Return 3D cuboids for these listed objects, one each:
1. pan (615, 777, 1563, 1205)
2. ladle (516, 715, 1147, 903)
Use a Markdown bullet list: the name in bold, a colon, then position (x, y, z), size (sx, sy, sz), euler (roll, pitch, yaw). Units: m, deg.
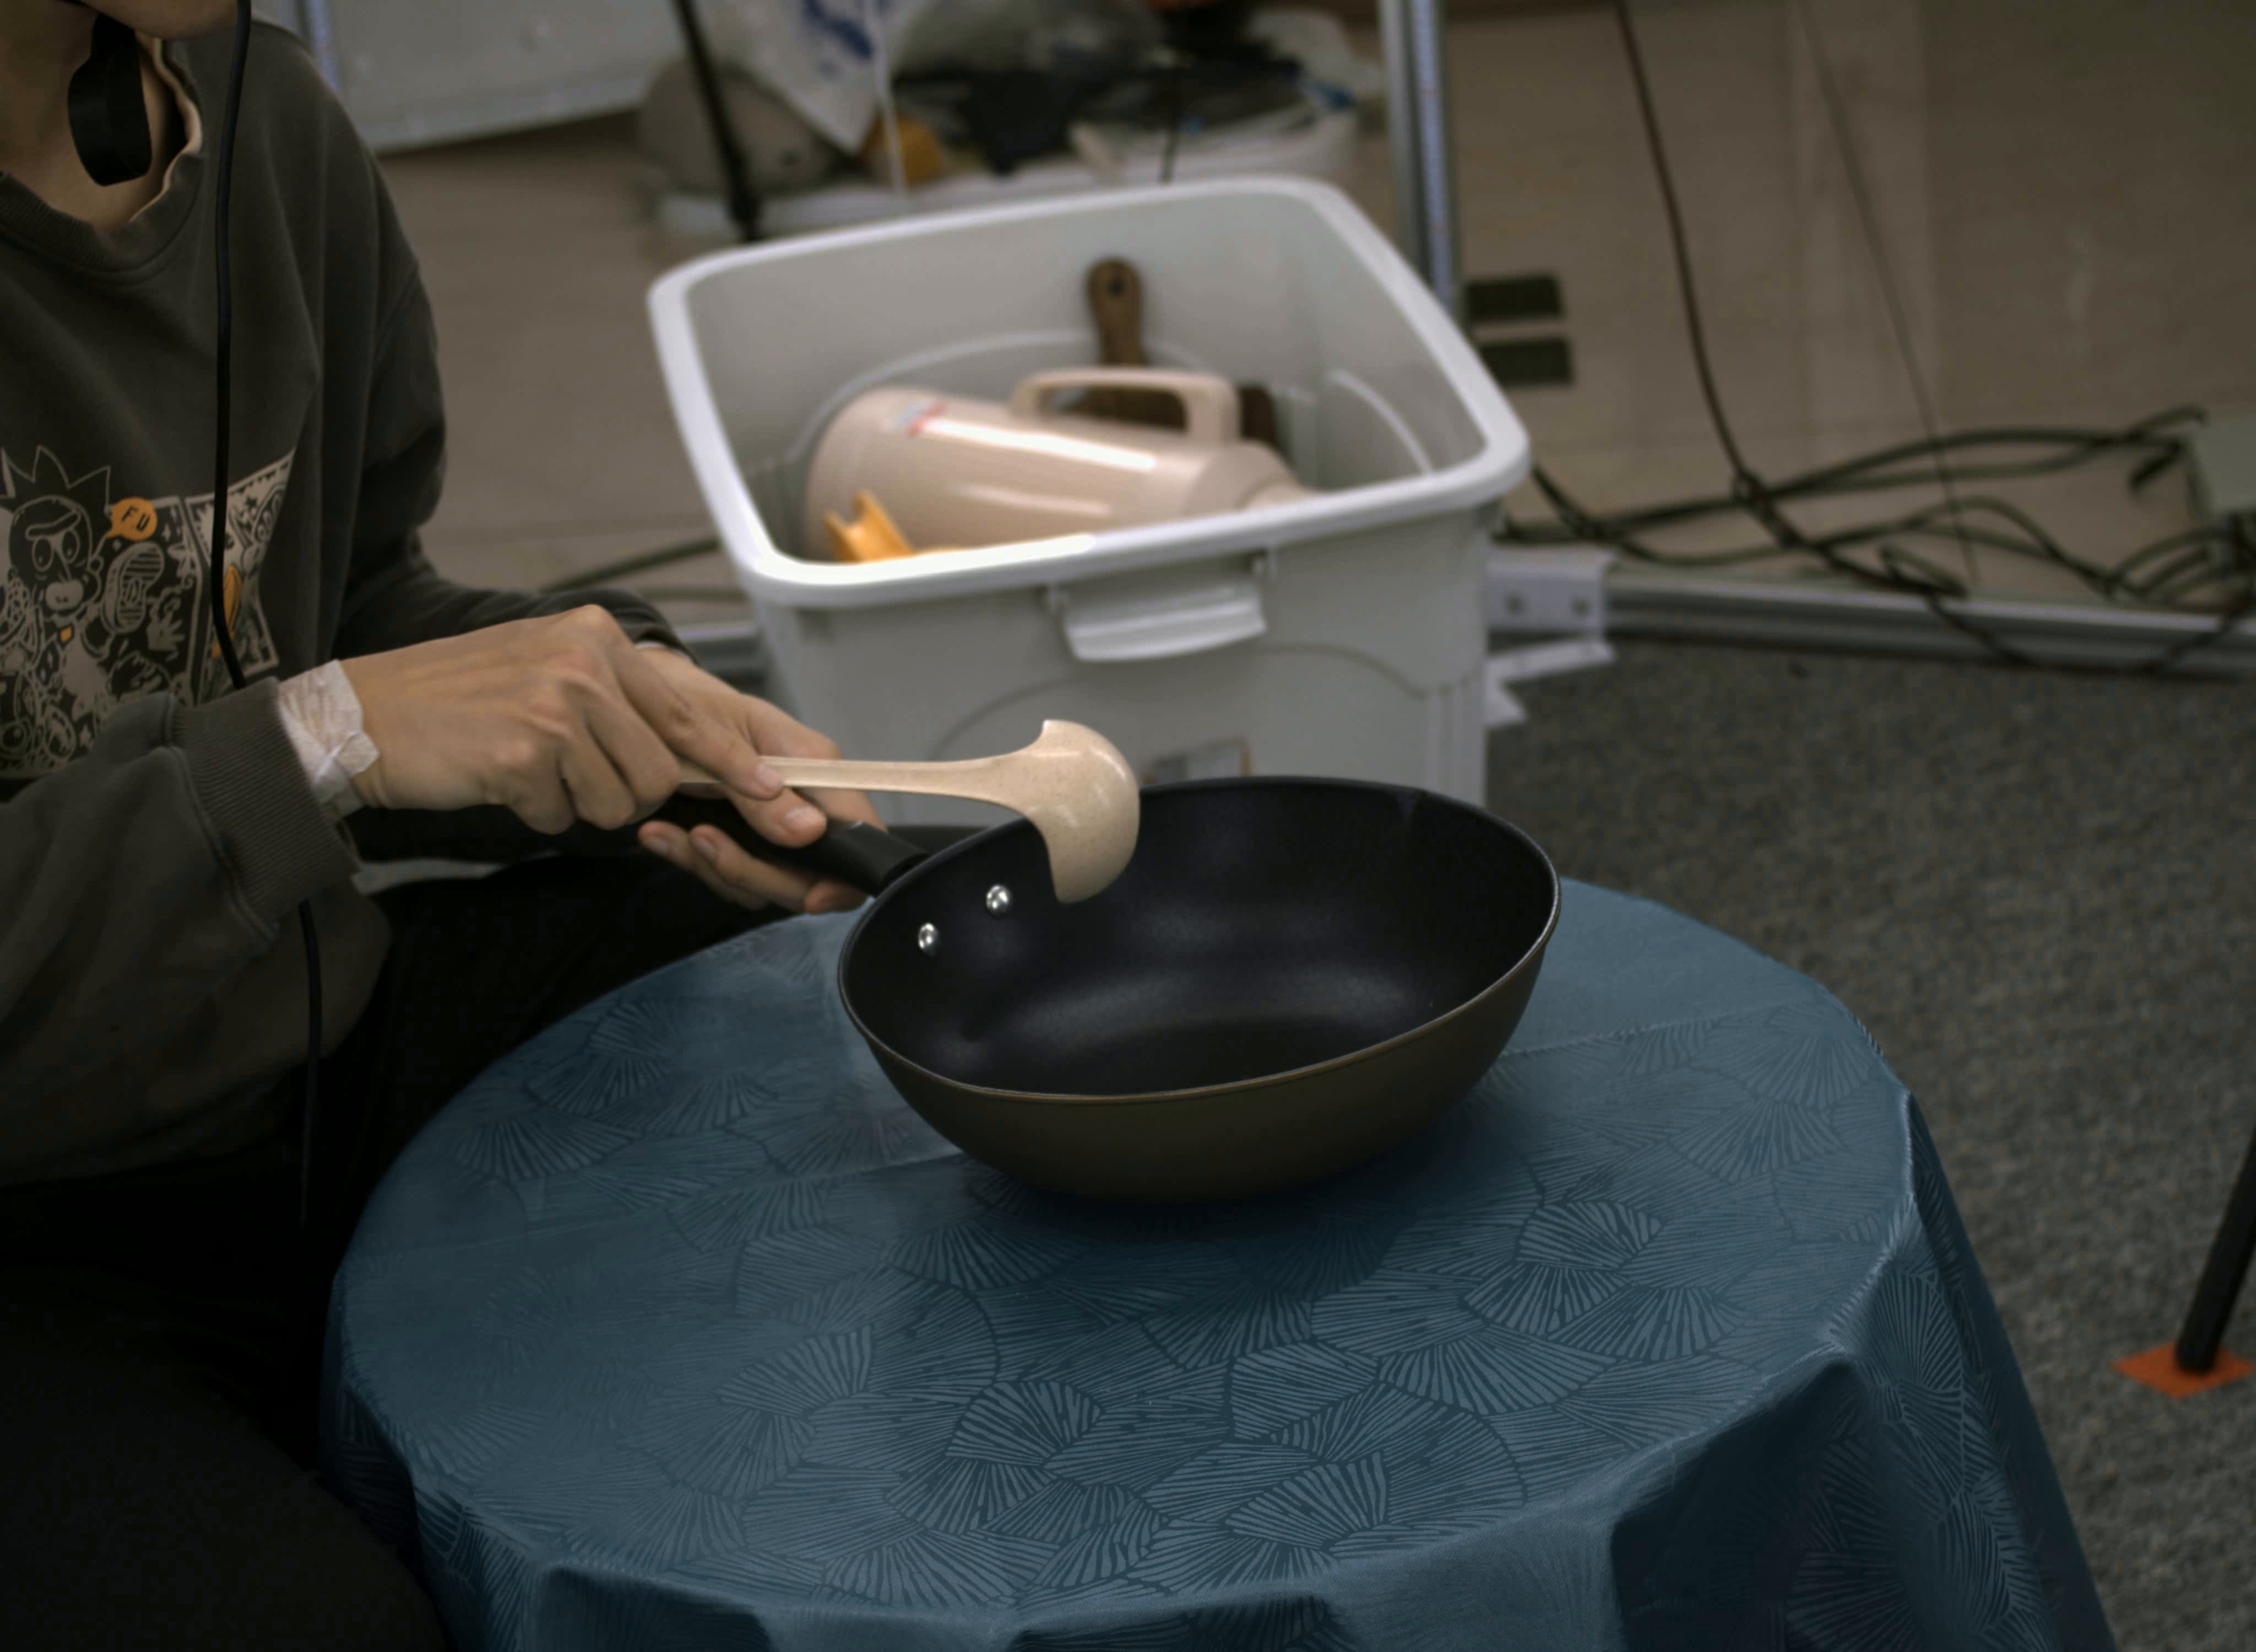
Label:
- **pan**: position (-0.037, 0.057, 2.234), size (0.460, 0.088, 0.285), euler (13, 31, 40)
- **ladle**: position (-0.118, -0.013, 2.159), size (0.254, 0.071, 0.073), euler (4, -19, -19)
